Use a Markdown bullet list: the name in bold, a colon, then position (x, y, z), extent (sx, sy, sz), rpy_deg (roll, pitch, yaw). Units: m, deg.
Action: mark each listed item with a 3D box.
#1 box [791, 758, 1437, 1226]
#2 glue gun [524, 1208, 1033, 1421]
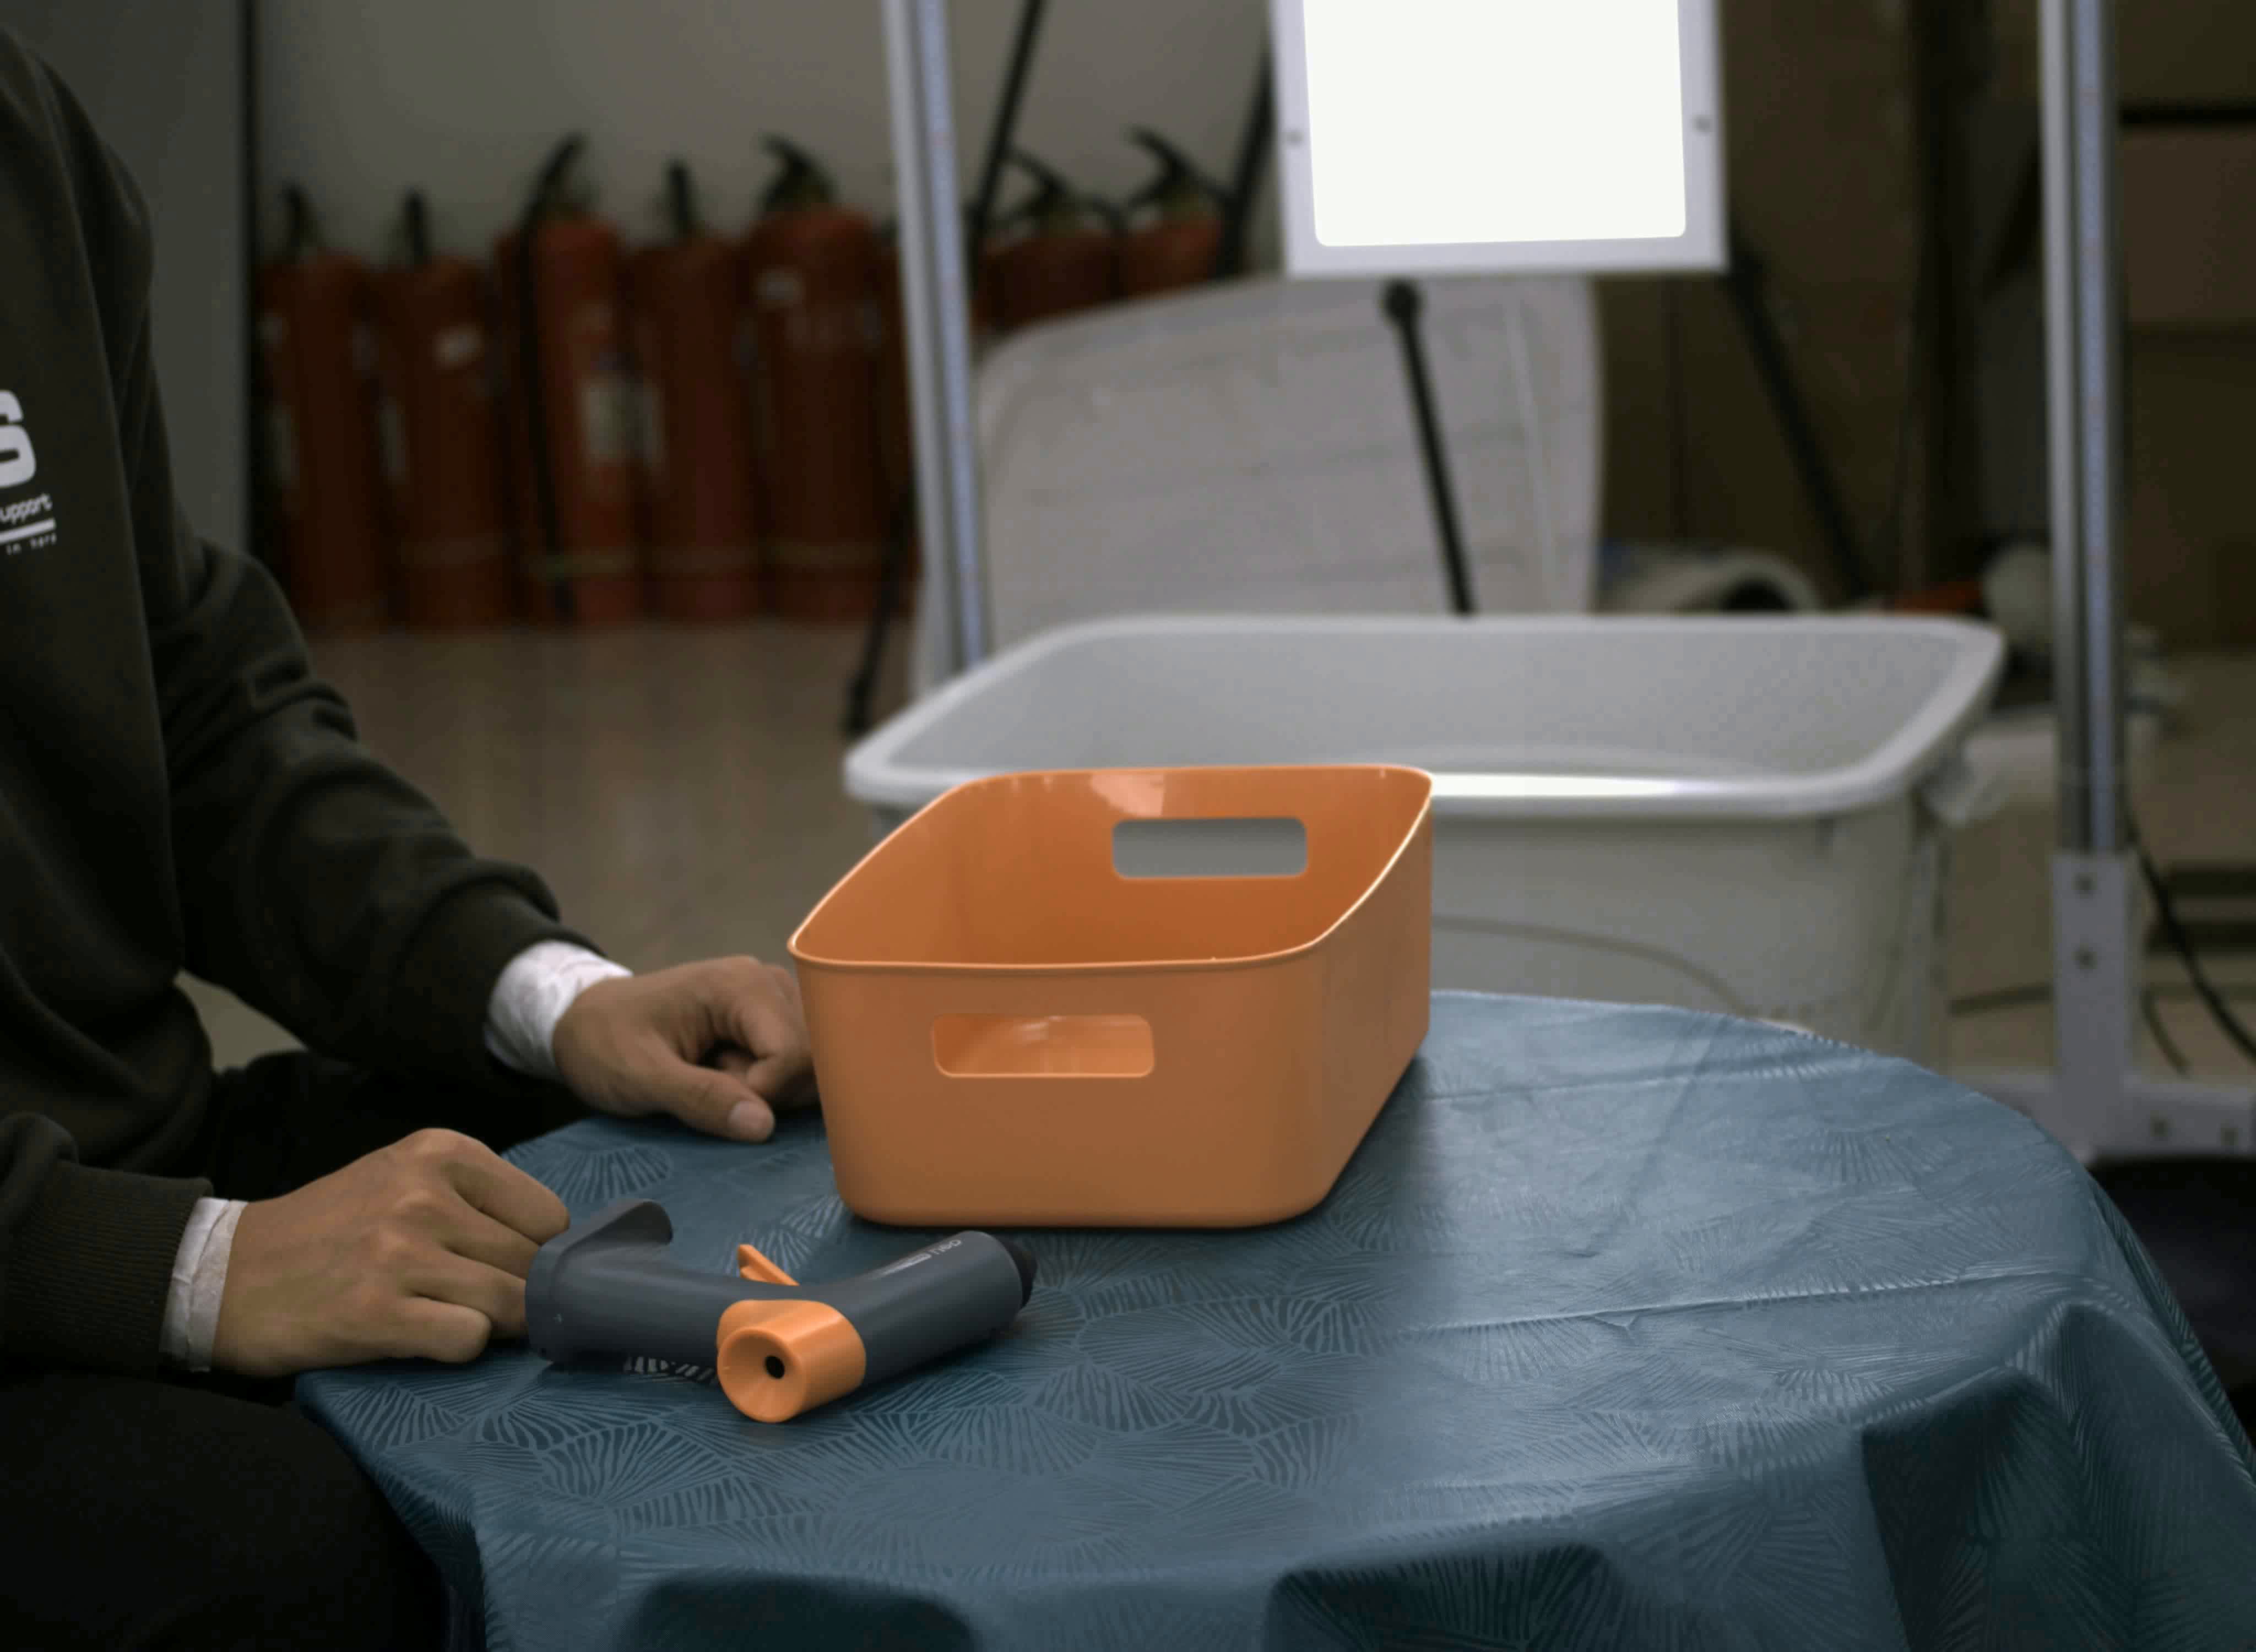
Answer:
- **box**: position (0.002, 0.058, 1.959), extent (0.201, 0.103, 0.269), rpy_deg (-1, 15, 15)
- **glue gun**: position (-0.112, 0.154, 1.764), extent (0.142, 0.041, 0.115), rpy_deg (5, 15, 28)
